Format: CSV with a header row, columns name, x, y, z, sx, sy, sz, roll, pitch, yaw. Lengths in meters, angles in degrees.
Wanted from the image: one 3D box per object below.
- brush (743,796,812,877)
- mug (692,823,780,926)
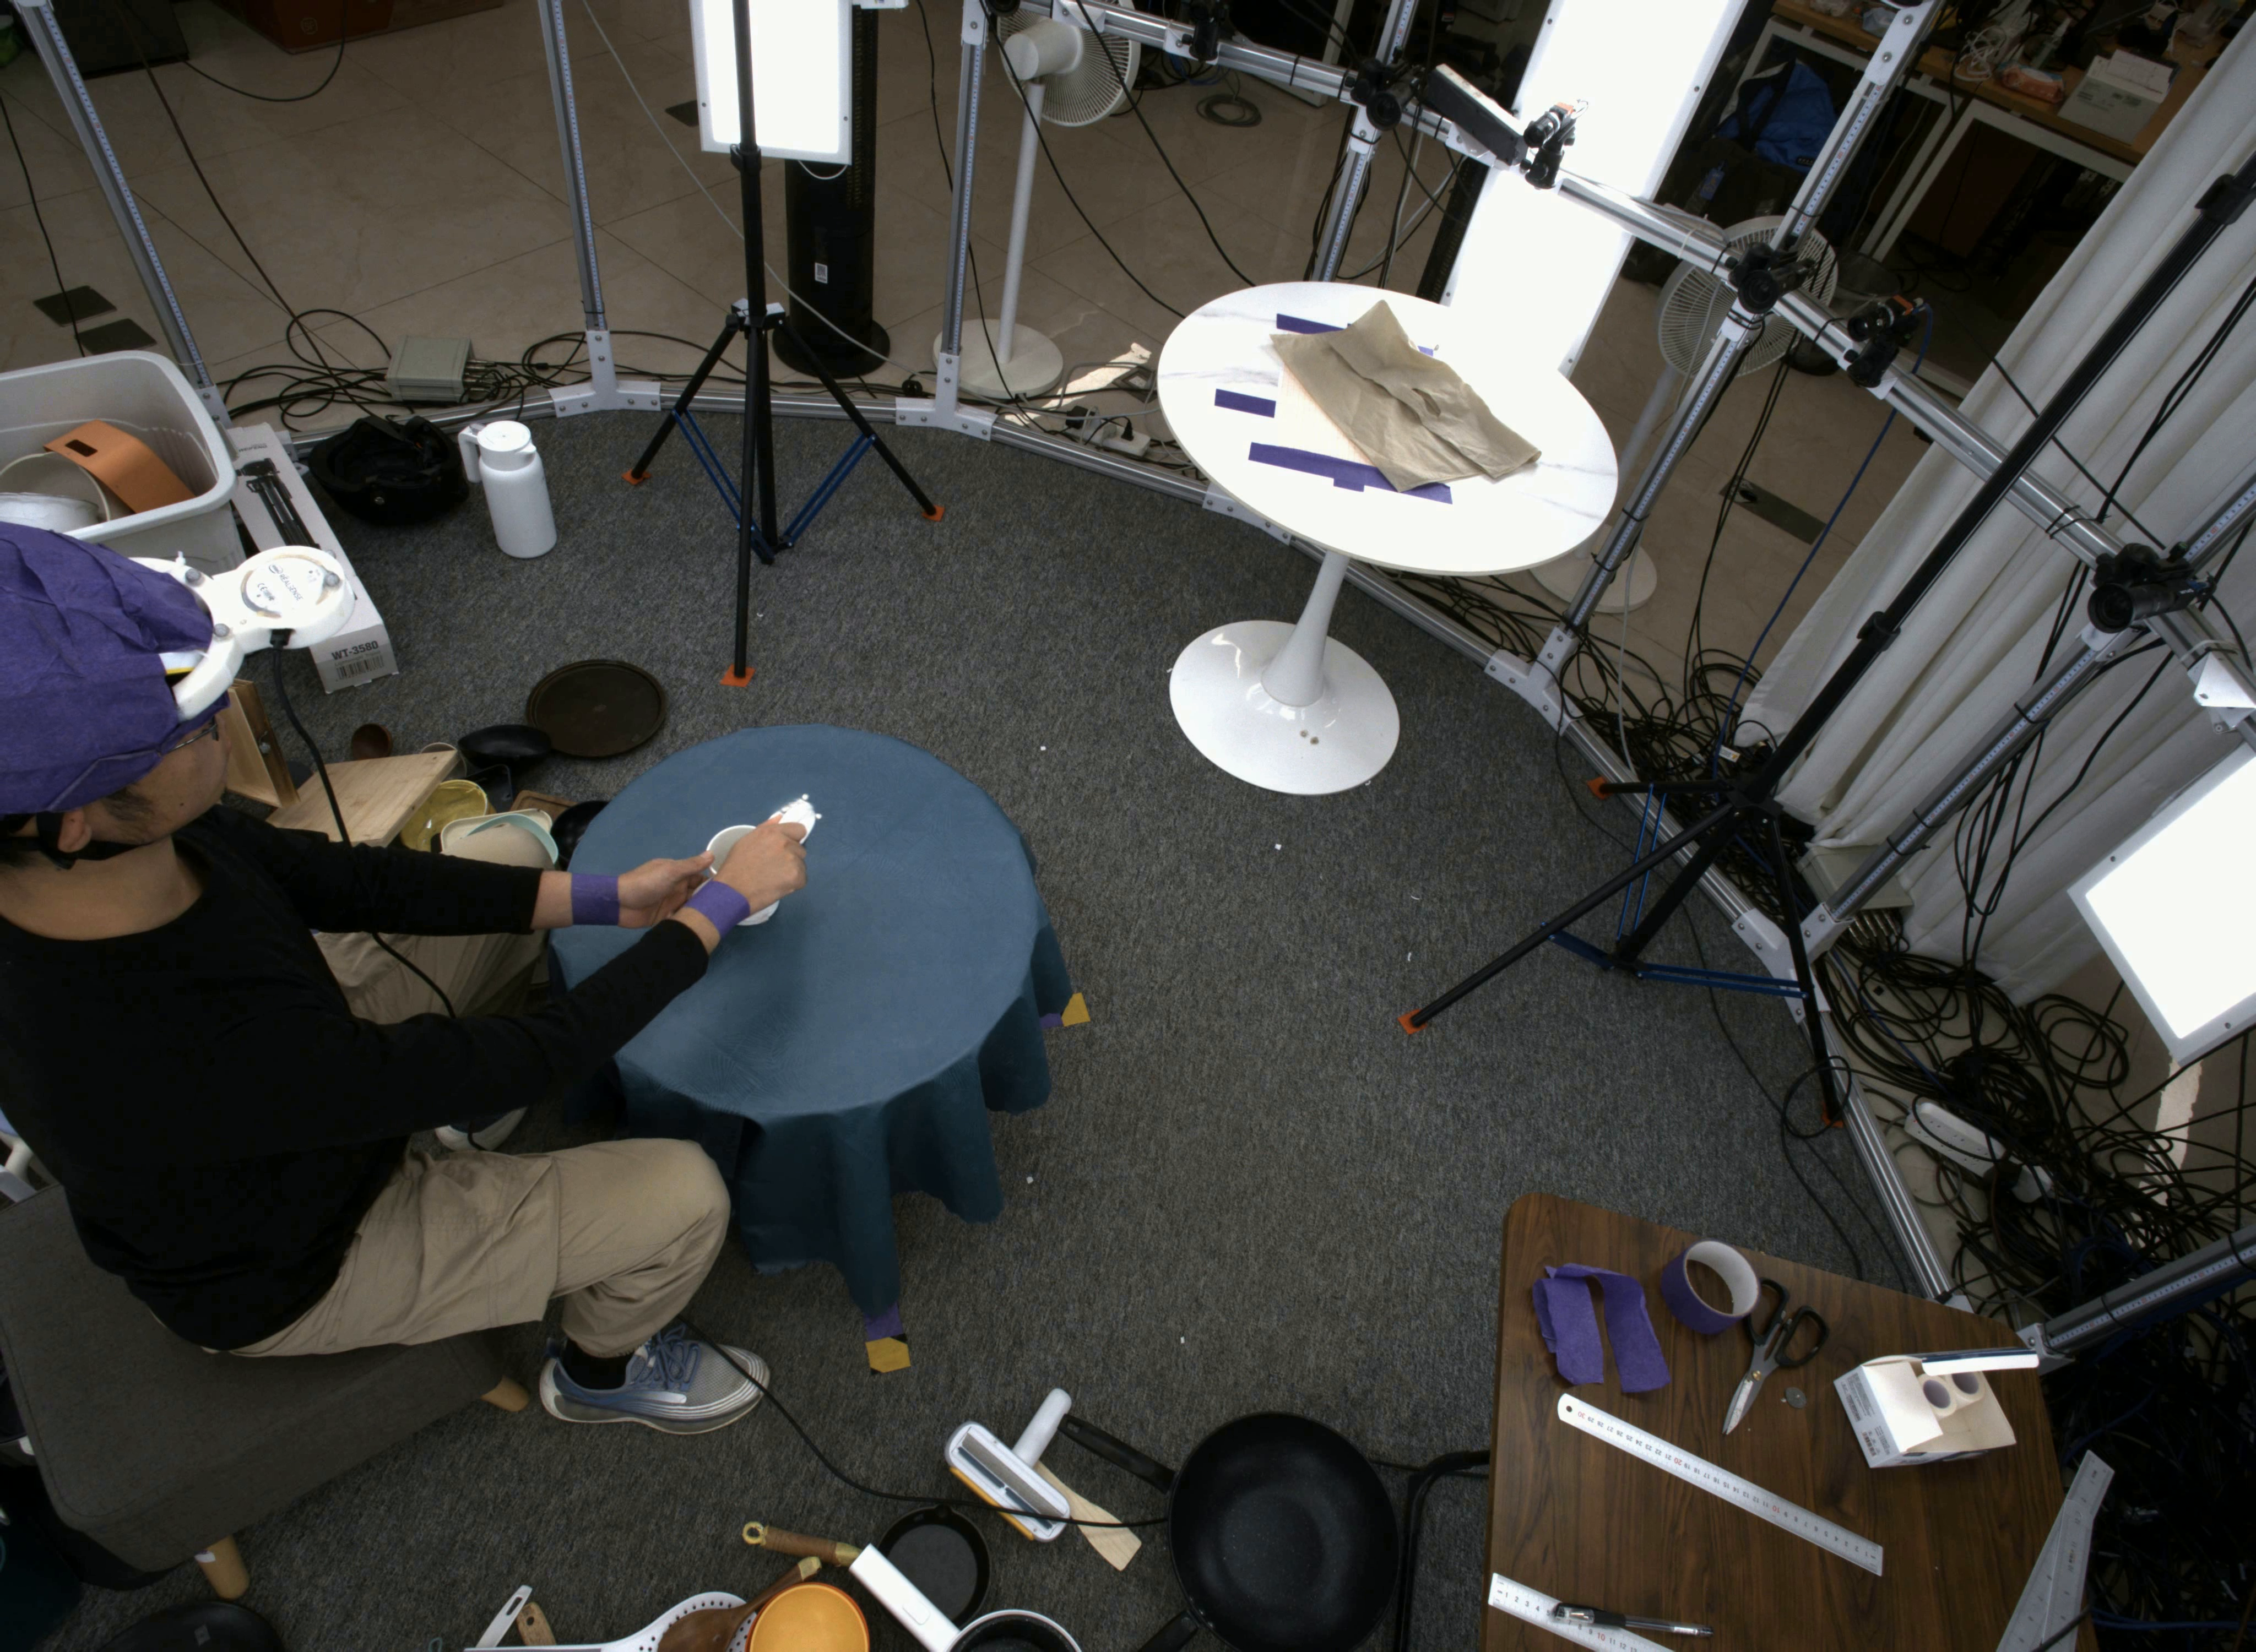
name,x,y,z,sx,sy,sz,roll,pitch,yaw
brush,-0.414,0.005,1.541,0.050,0.072,0.099,37,56,-5
mug,-0.485,0.068,1.593,0.083,0.104,0.118,38,53,15
